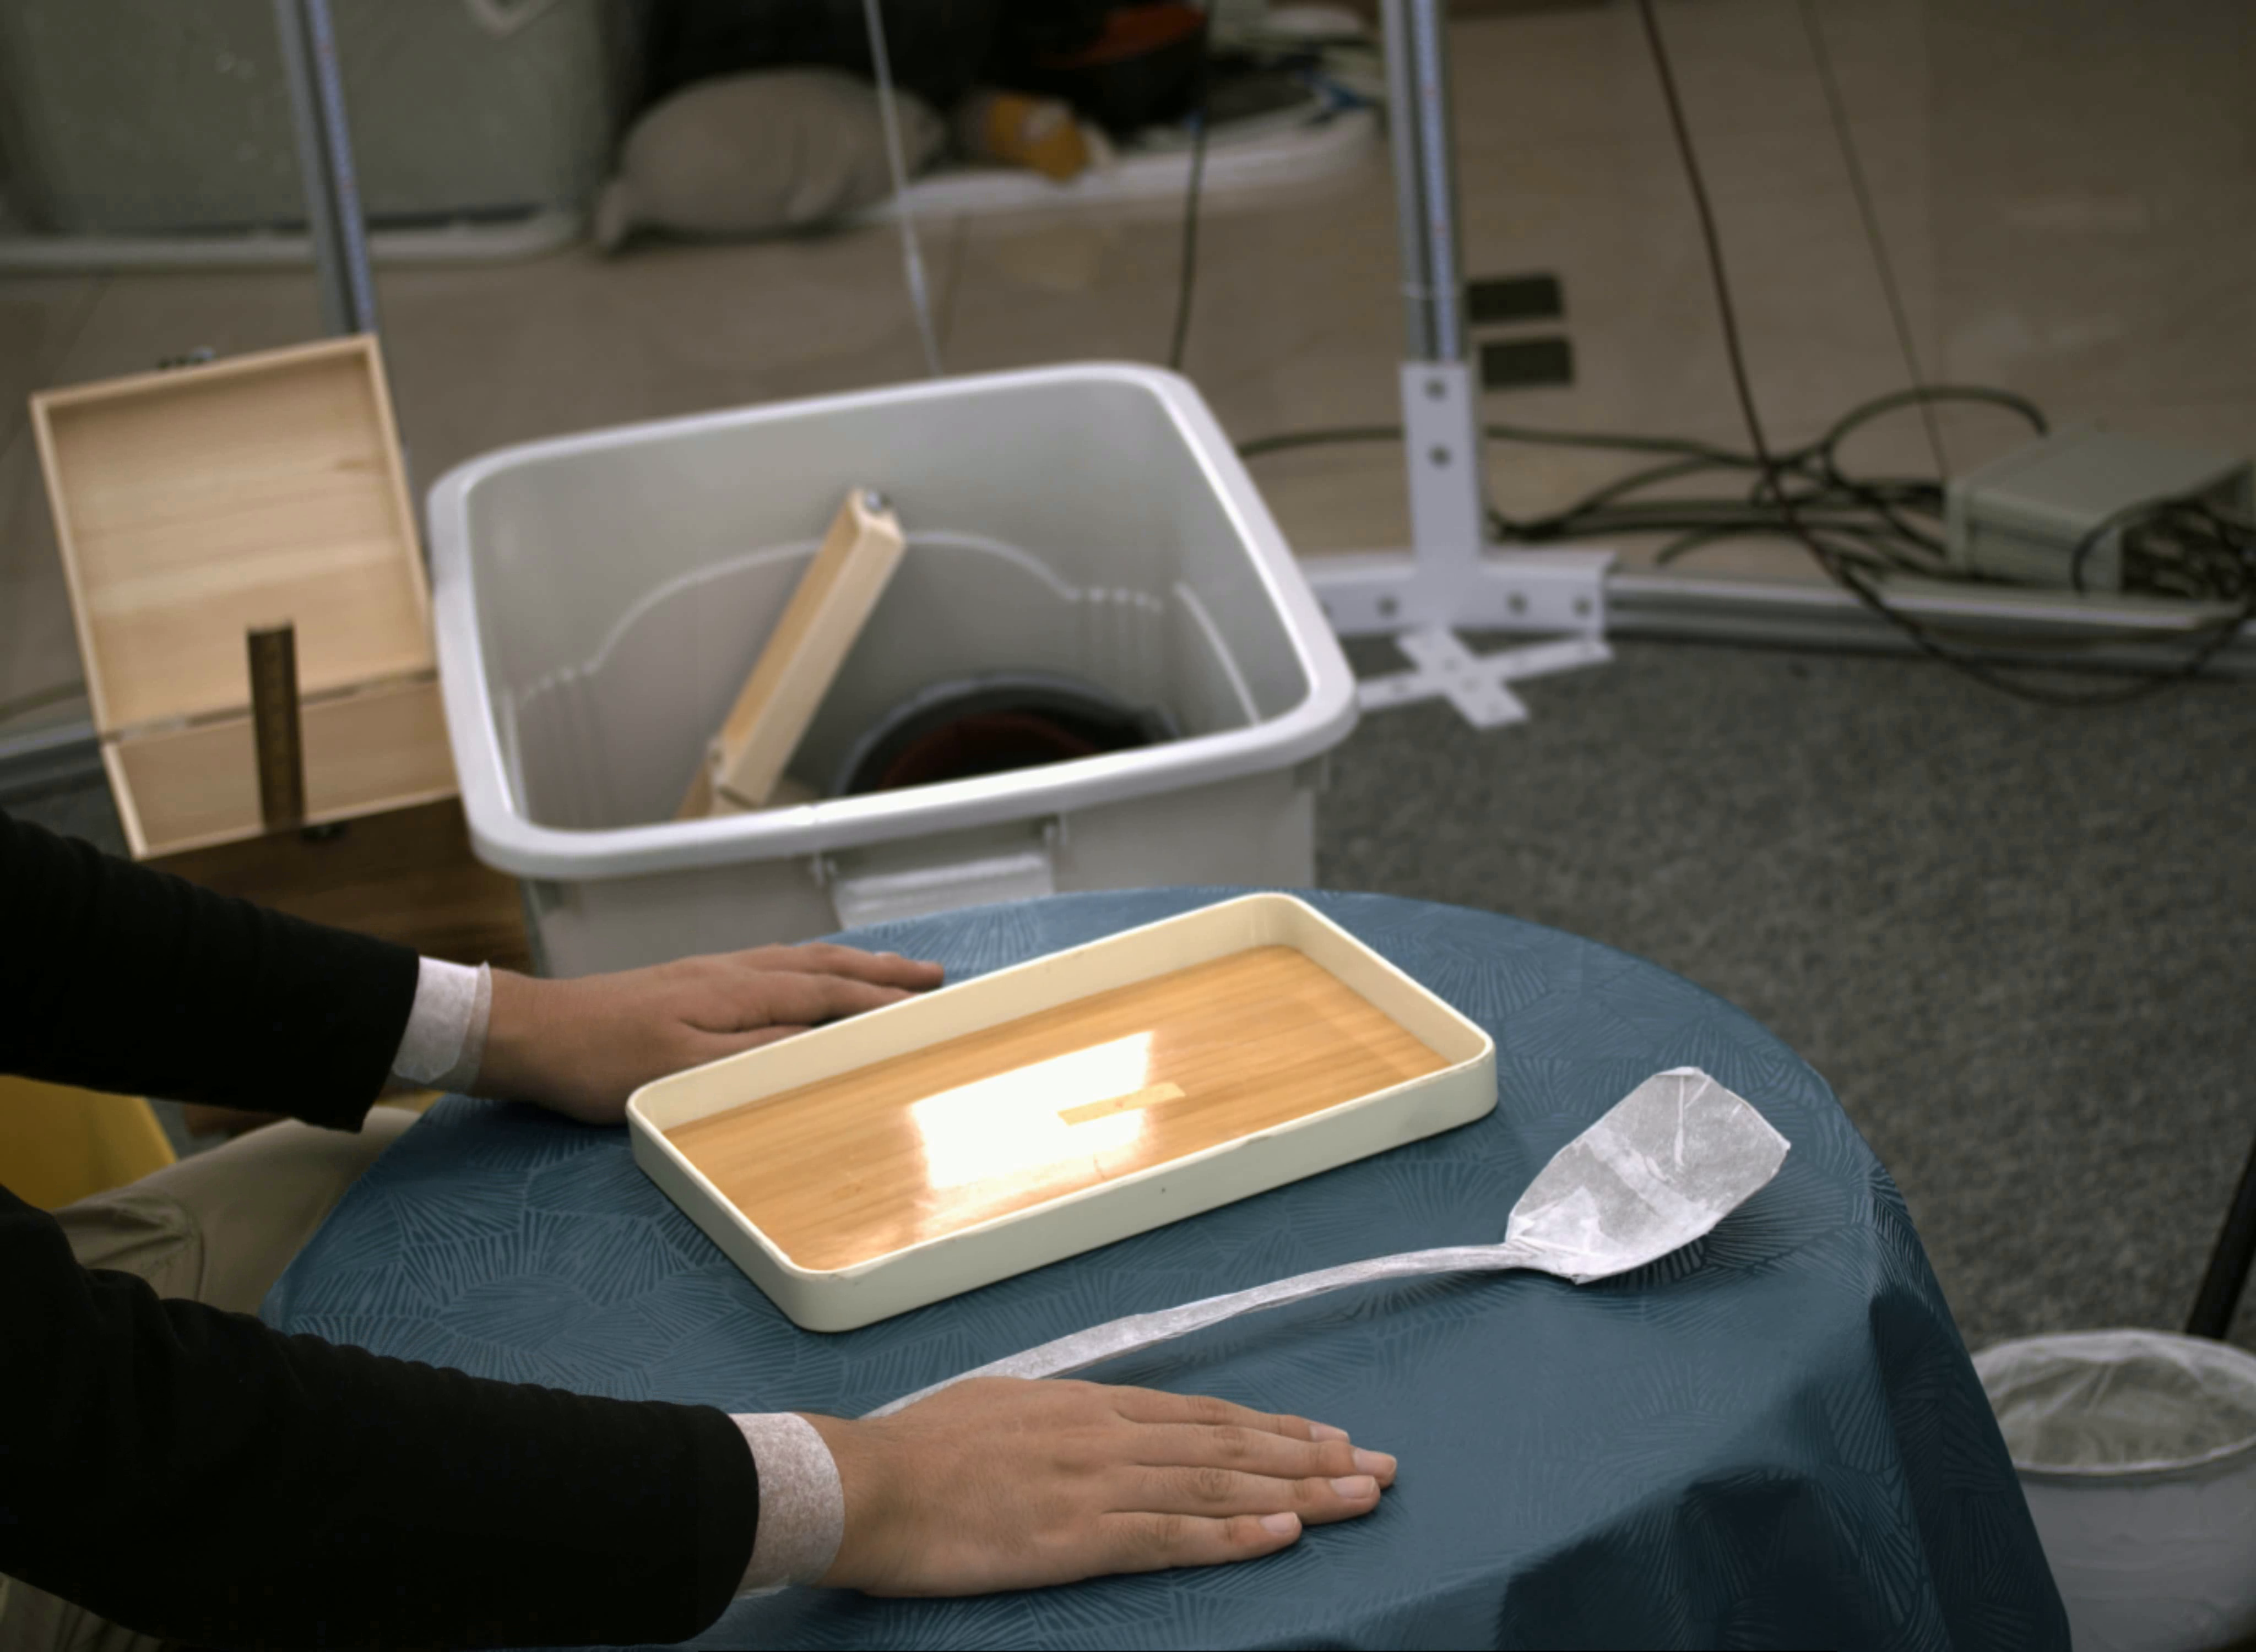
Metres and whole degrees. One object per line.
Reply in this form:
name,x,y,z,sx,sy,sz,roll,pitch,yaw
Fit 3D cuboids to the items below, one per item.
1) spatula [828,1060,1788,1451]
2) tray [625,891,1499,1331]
spatula,0.064,0.161,2.039,0.363,0.045,0.097,-14,27,-16
tray,-0.026,0.106,2.192,0.299,0.028,0.189,-17,27,-21
